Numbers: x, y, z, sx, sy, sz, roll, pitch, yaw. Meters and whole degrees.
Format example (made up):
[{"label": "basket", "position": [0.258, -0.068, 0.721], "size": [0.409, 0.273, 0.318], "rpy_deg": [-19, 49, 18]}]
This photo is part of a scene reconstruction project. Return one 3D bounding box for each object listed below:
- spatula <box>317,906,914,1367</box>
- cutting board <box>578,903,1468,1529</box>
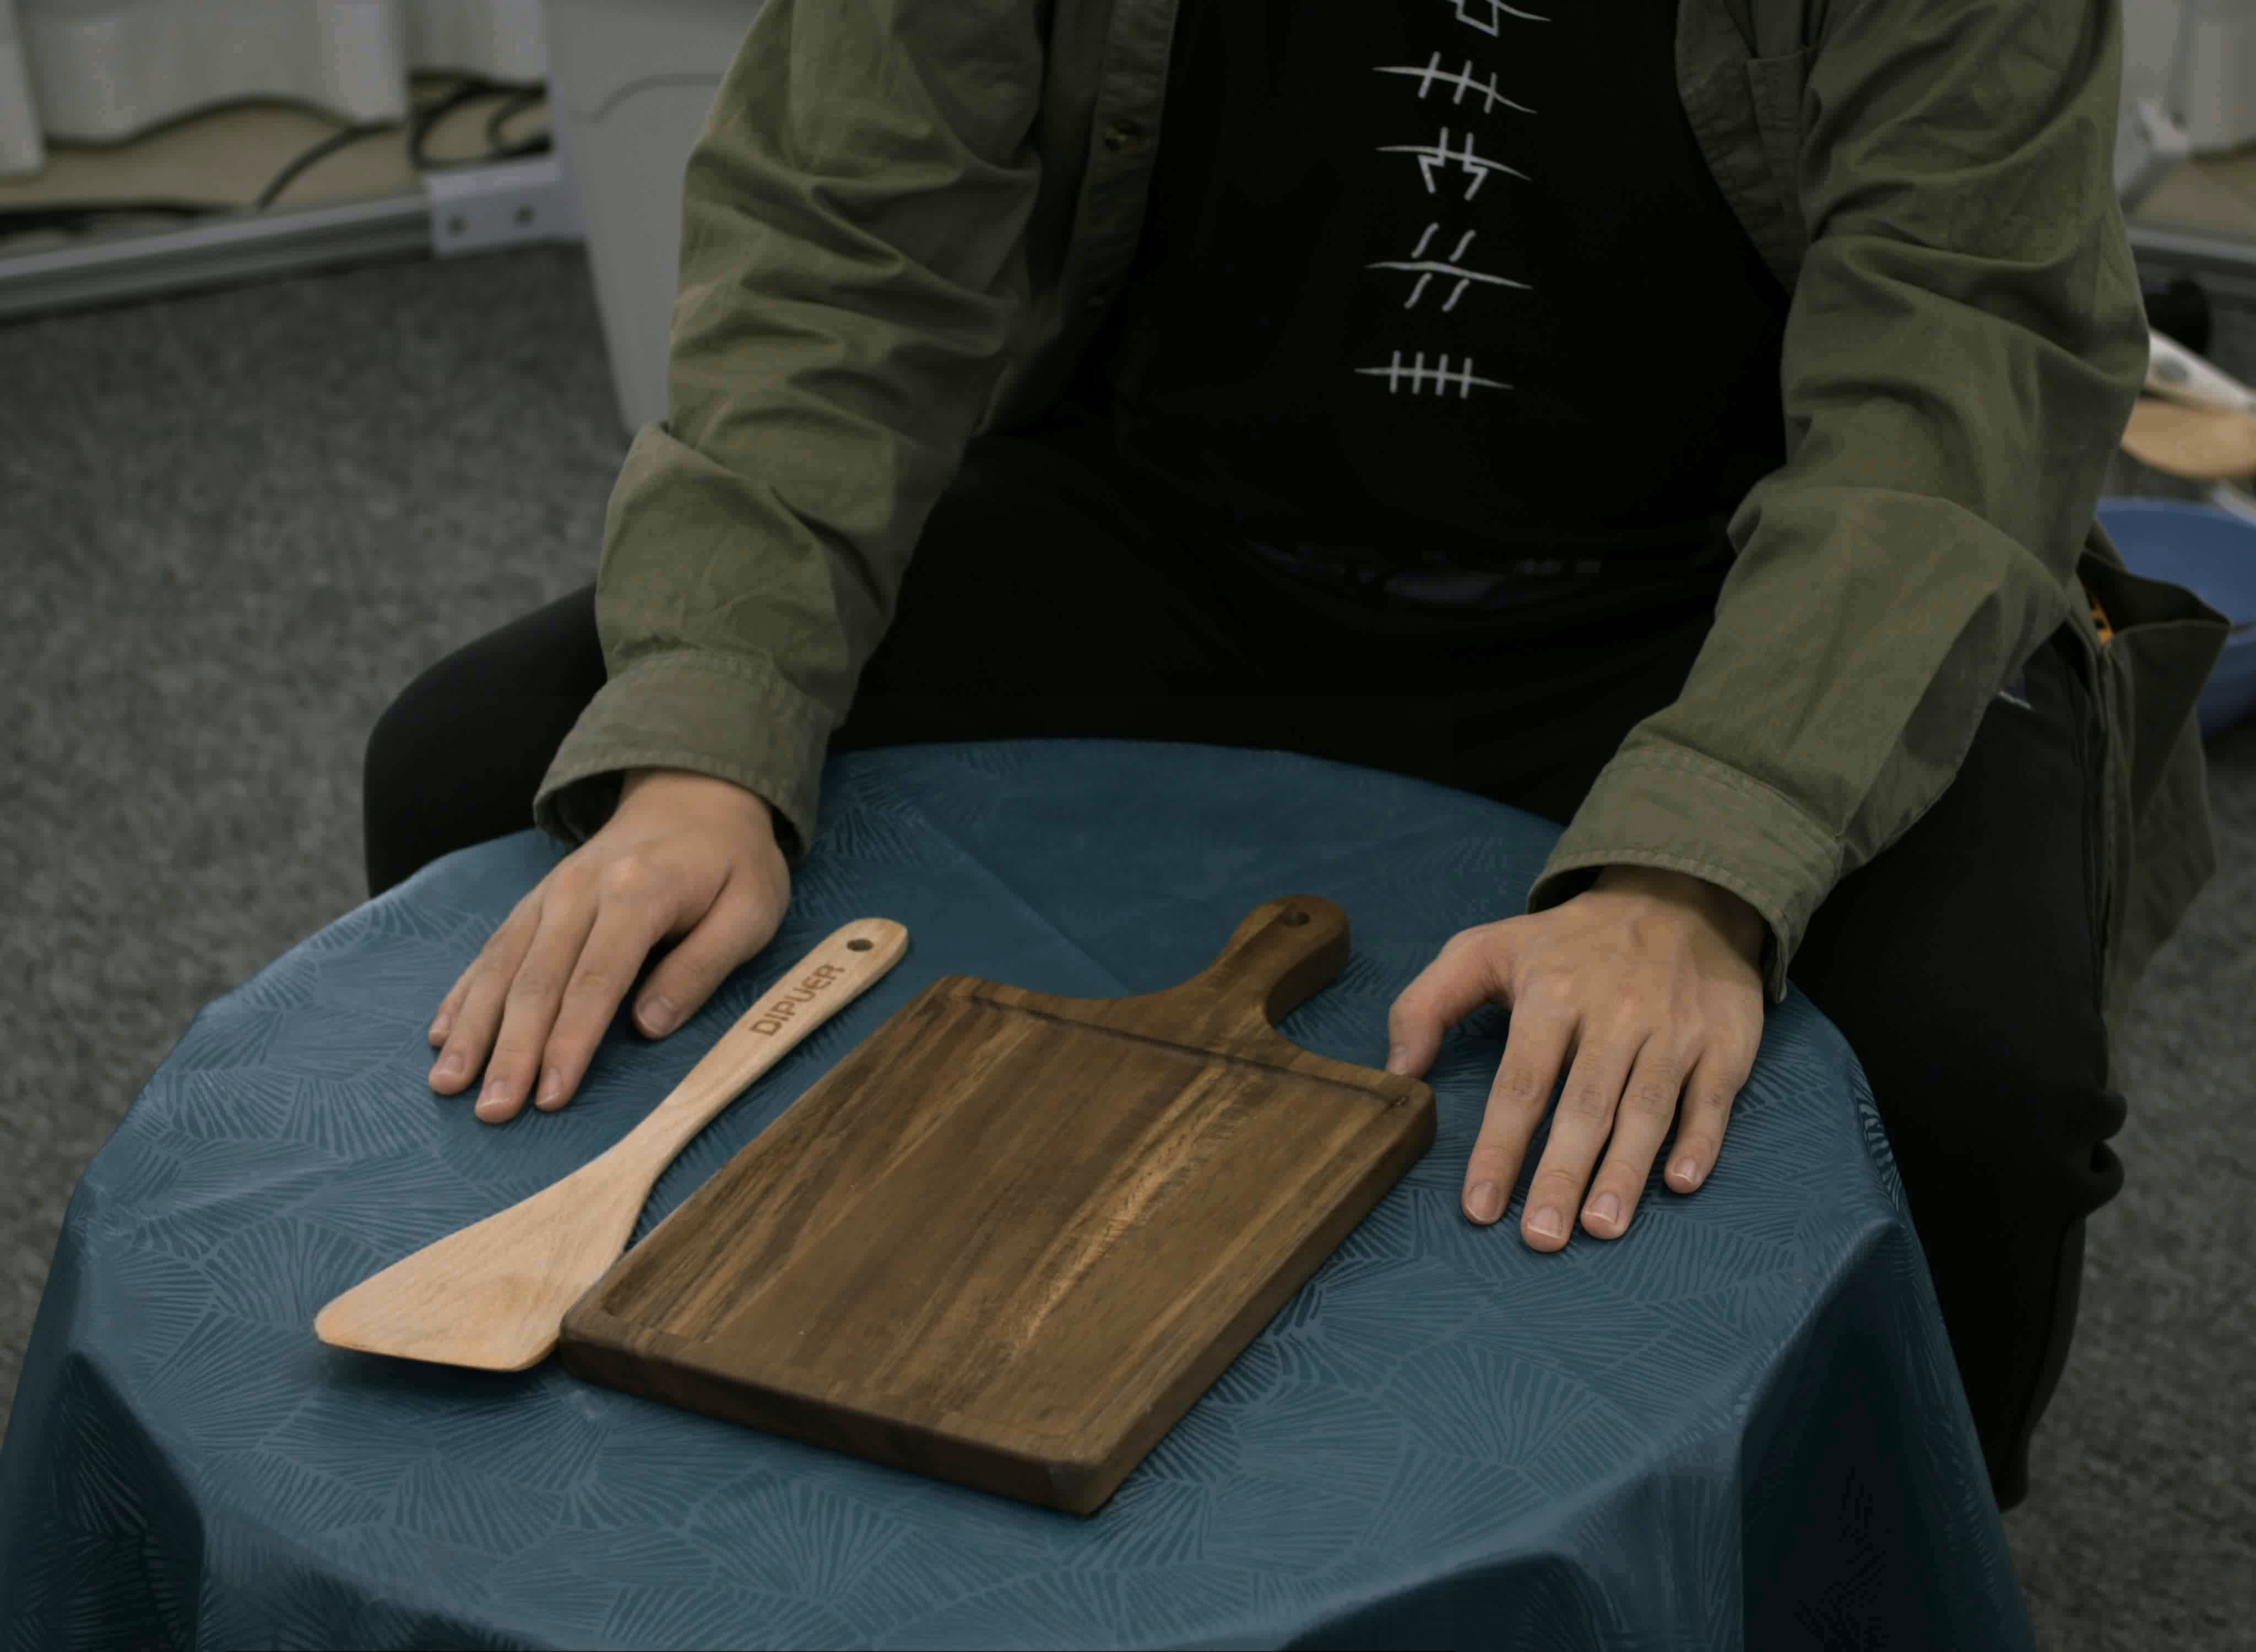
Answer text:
[{"label": "spatula", "position": [-0.154, 0.100, 1.894], "size": [0.079, 0.016, 0.333], "rpy_deg": [11, 31, 23]}, {"label": "cutting board", "position": [-0.006, 0.112, 1.853], "size": [0.200, 0.023, 0.358], "rpy_deg": [12, 31, 27]}]
